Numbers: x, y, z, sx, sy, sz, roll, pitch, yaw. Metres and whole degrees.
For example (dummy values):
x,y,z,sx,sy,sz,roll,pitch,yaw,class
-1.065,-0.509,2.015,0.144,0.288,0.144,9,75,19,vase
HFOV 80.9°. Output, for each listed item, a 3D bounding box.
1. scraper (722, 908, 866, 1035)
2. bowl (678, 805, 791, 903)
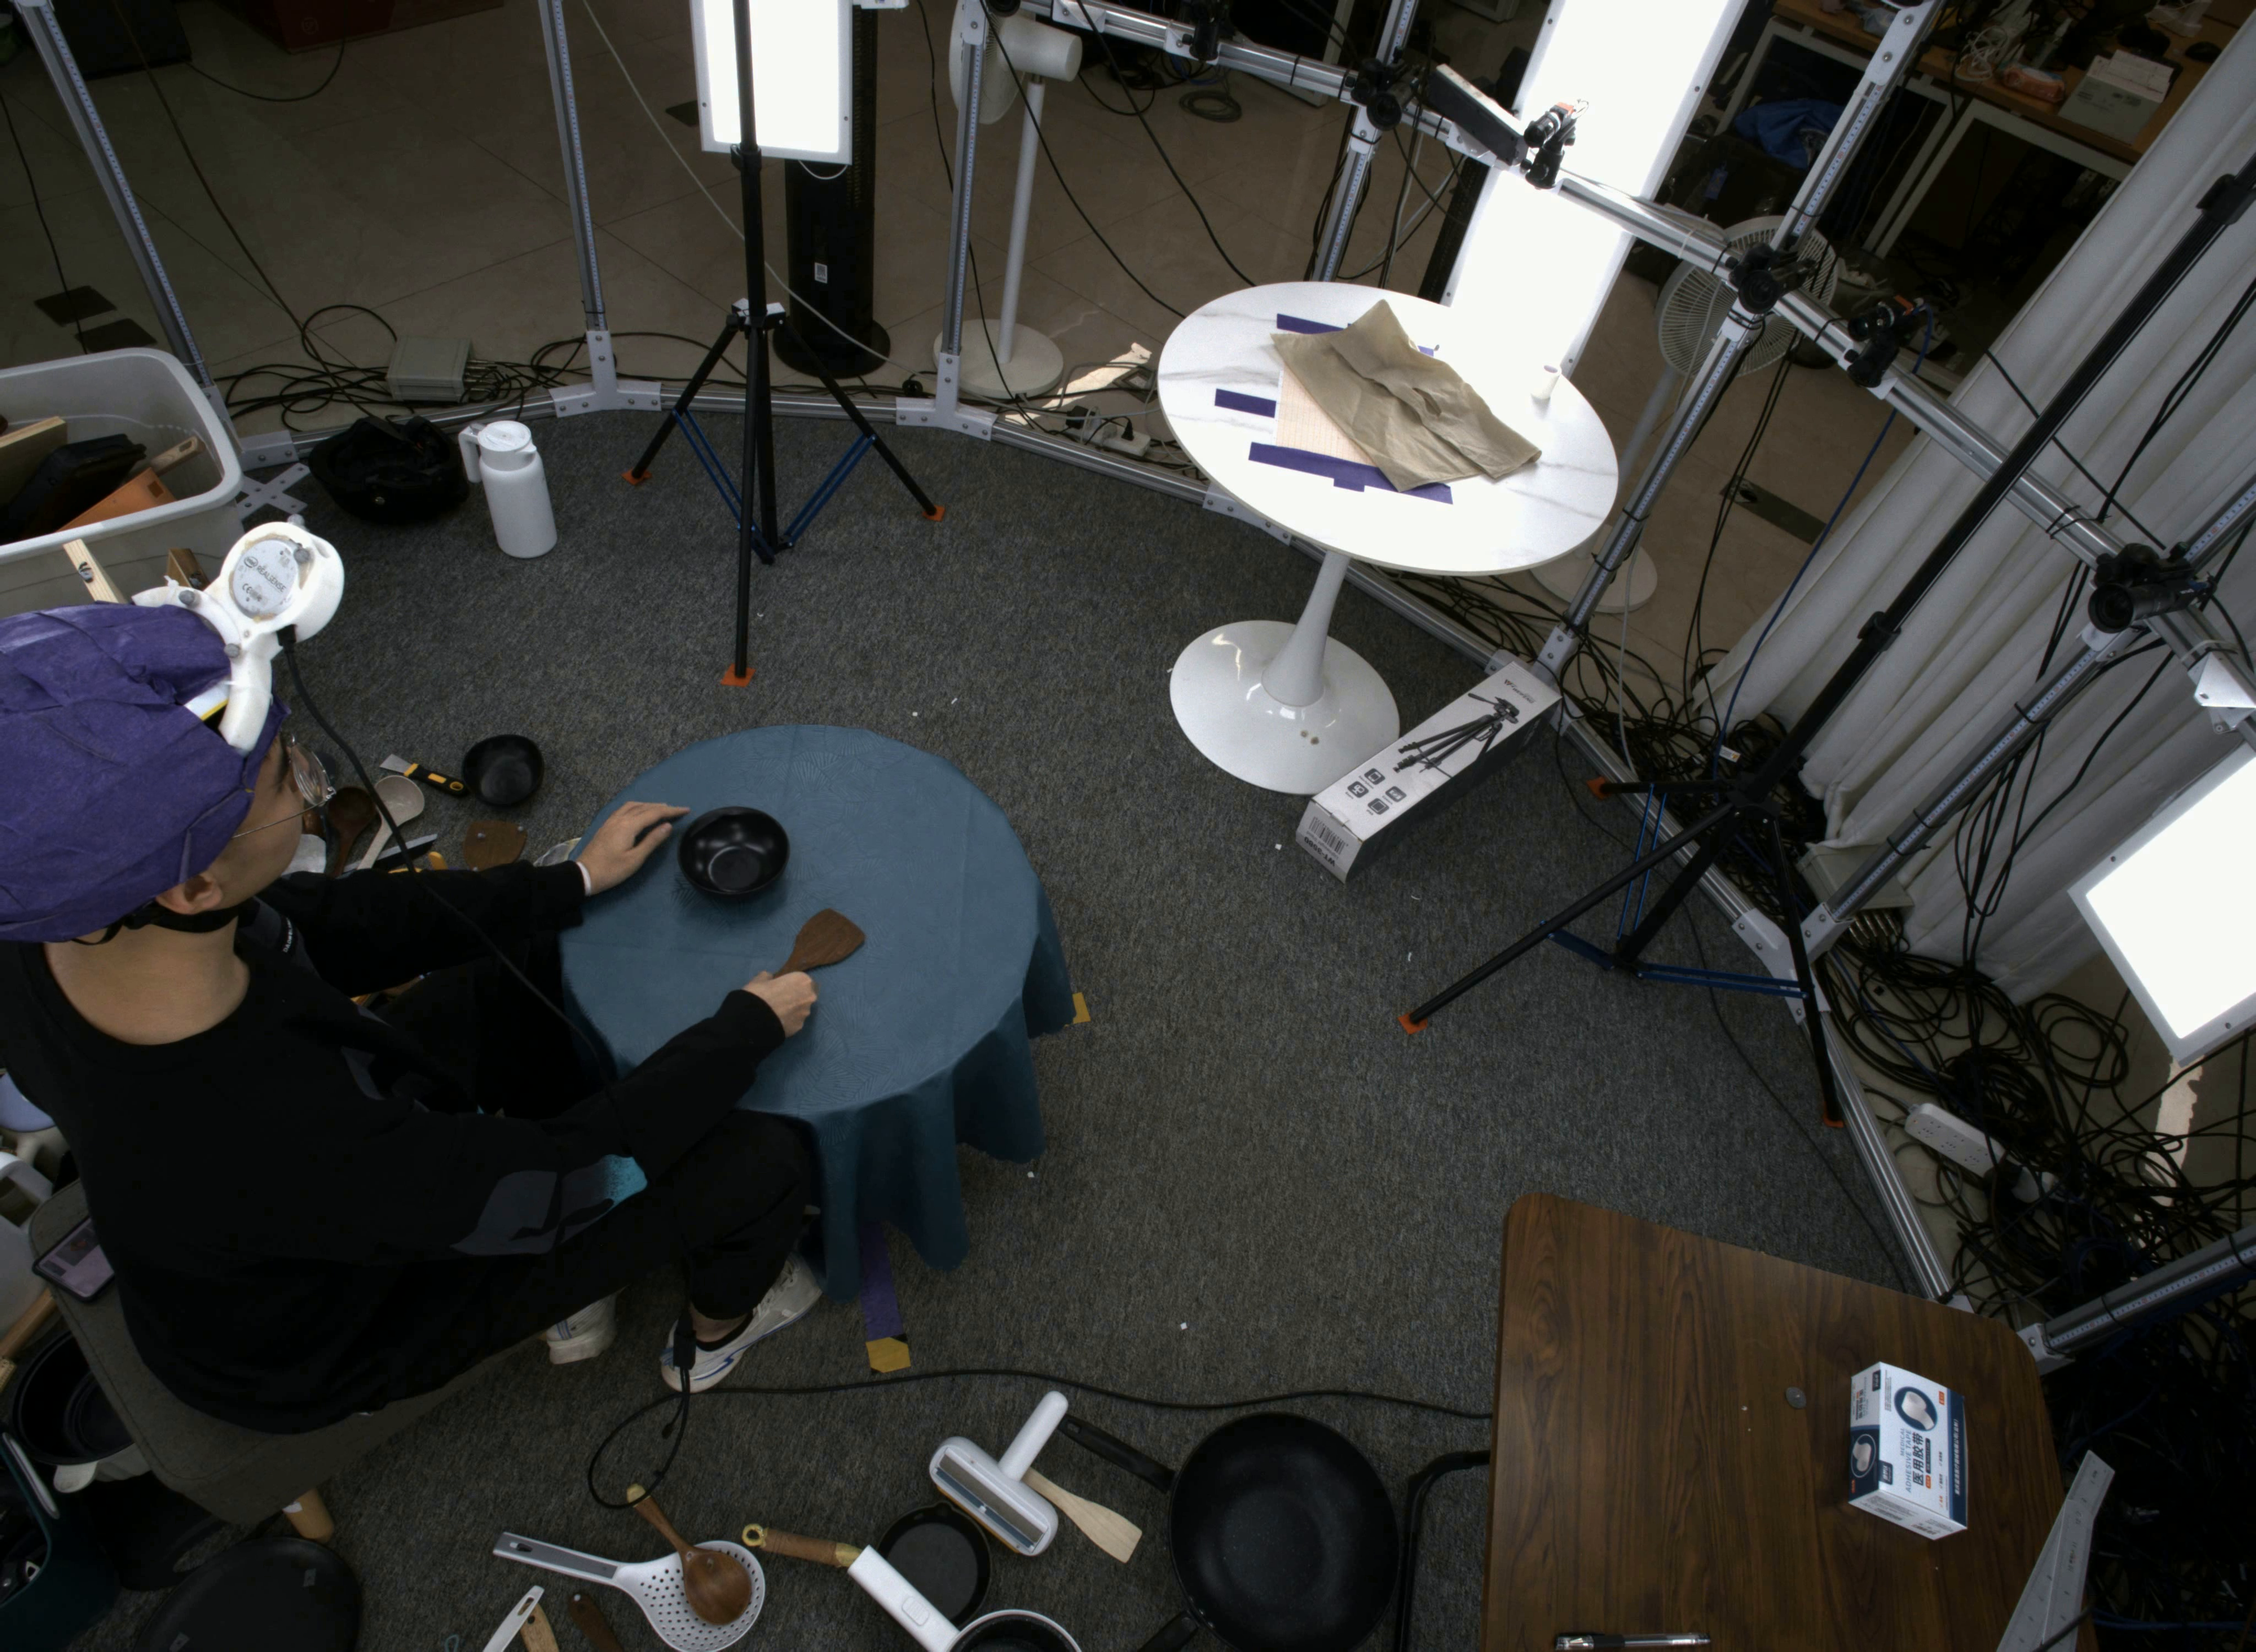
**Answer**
x,y,z,sx,sy,sz,roll,pitch,yaw,class
-0.415,0.178,1.590,0.074,0.011,0.211,34,51,13,scraper
-0.500,0.042,1.648,0.140,0.050,0.138,8,55,-10,bowl
